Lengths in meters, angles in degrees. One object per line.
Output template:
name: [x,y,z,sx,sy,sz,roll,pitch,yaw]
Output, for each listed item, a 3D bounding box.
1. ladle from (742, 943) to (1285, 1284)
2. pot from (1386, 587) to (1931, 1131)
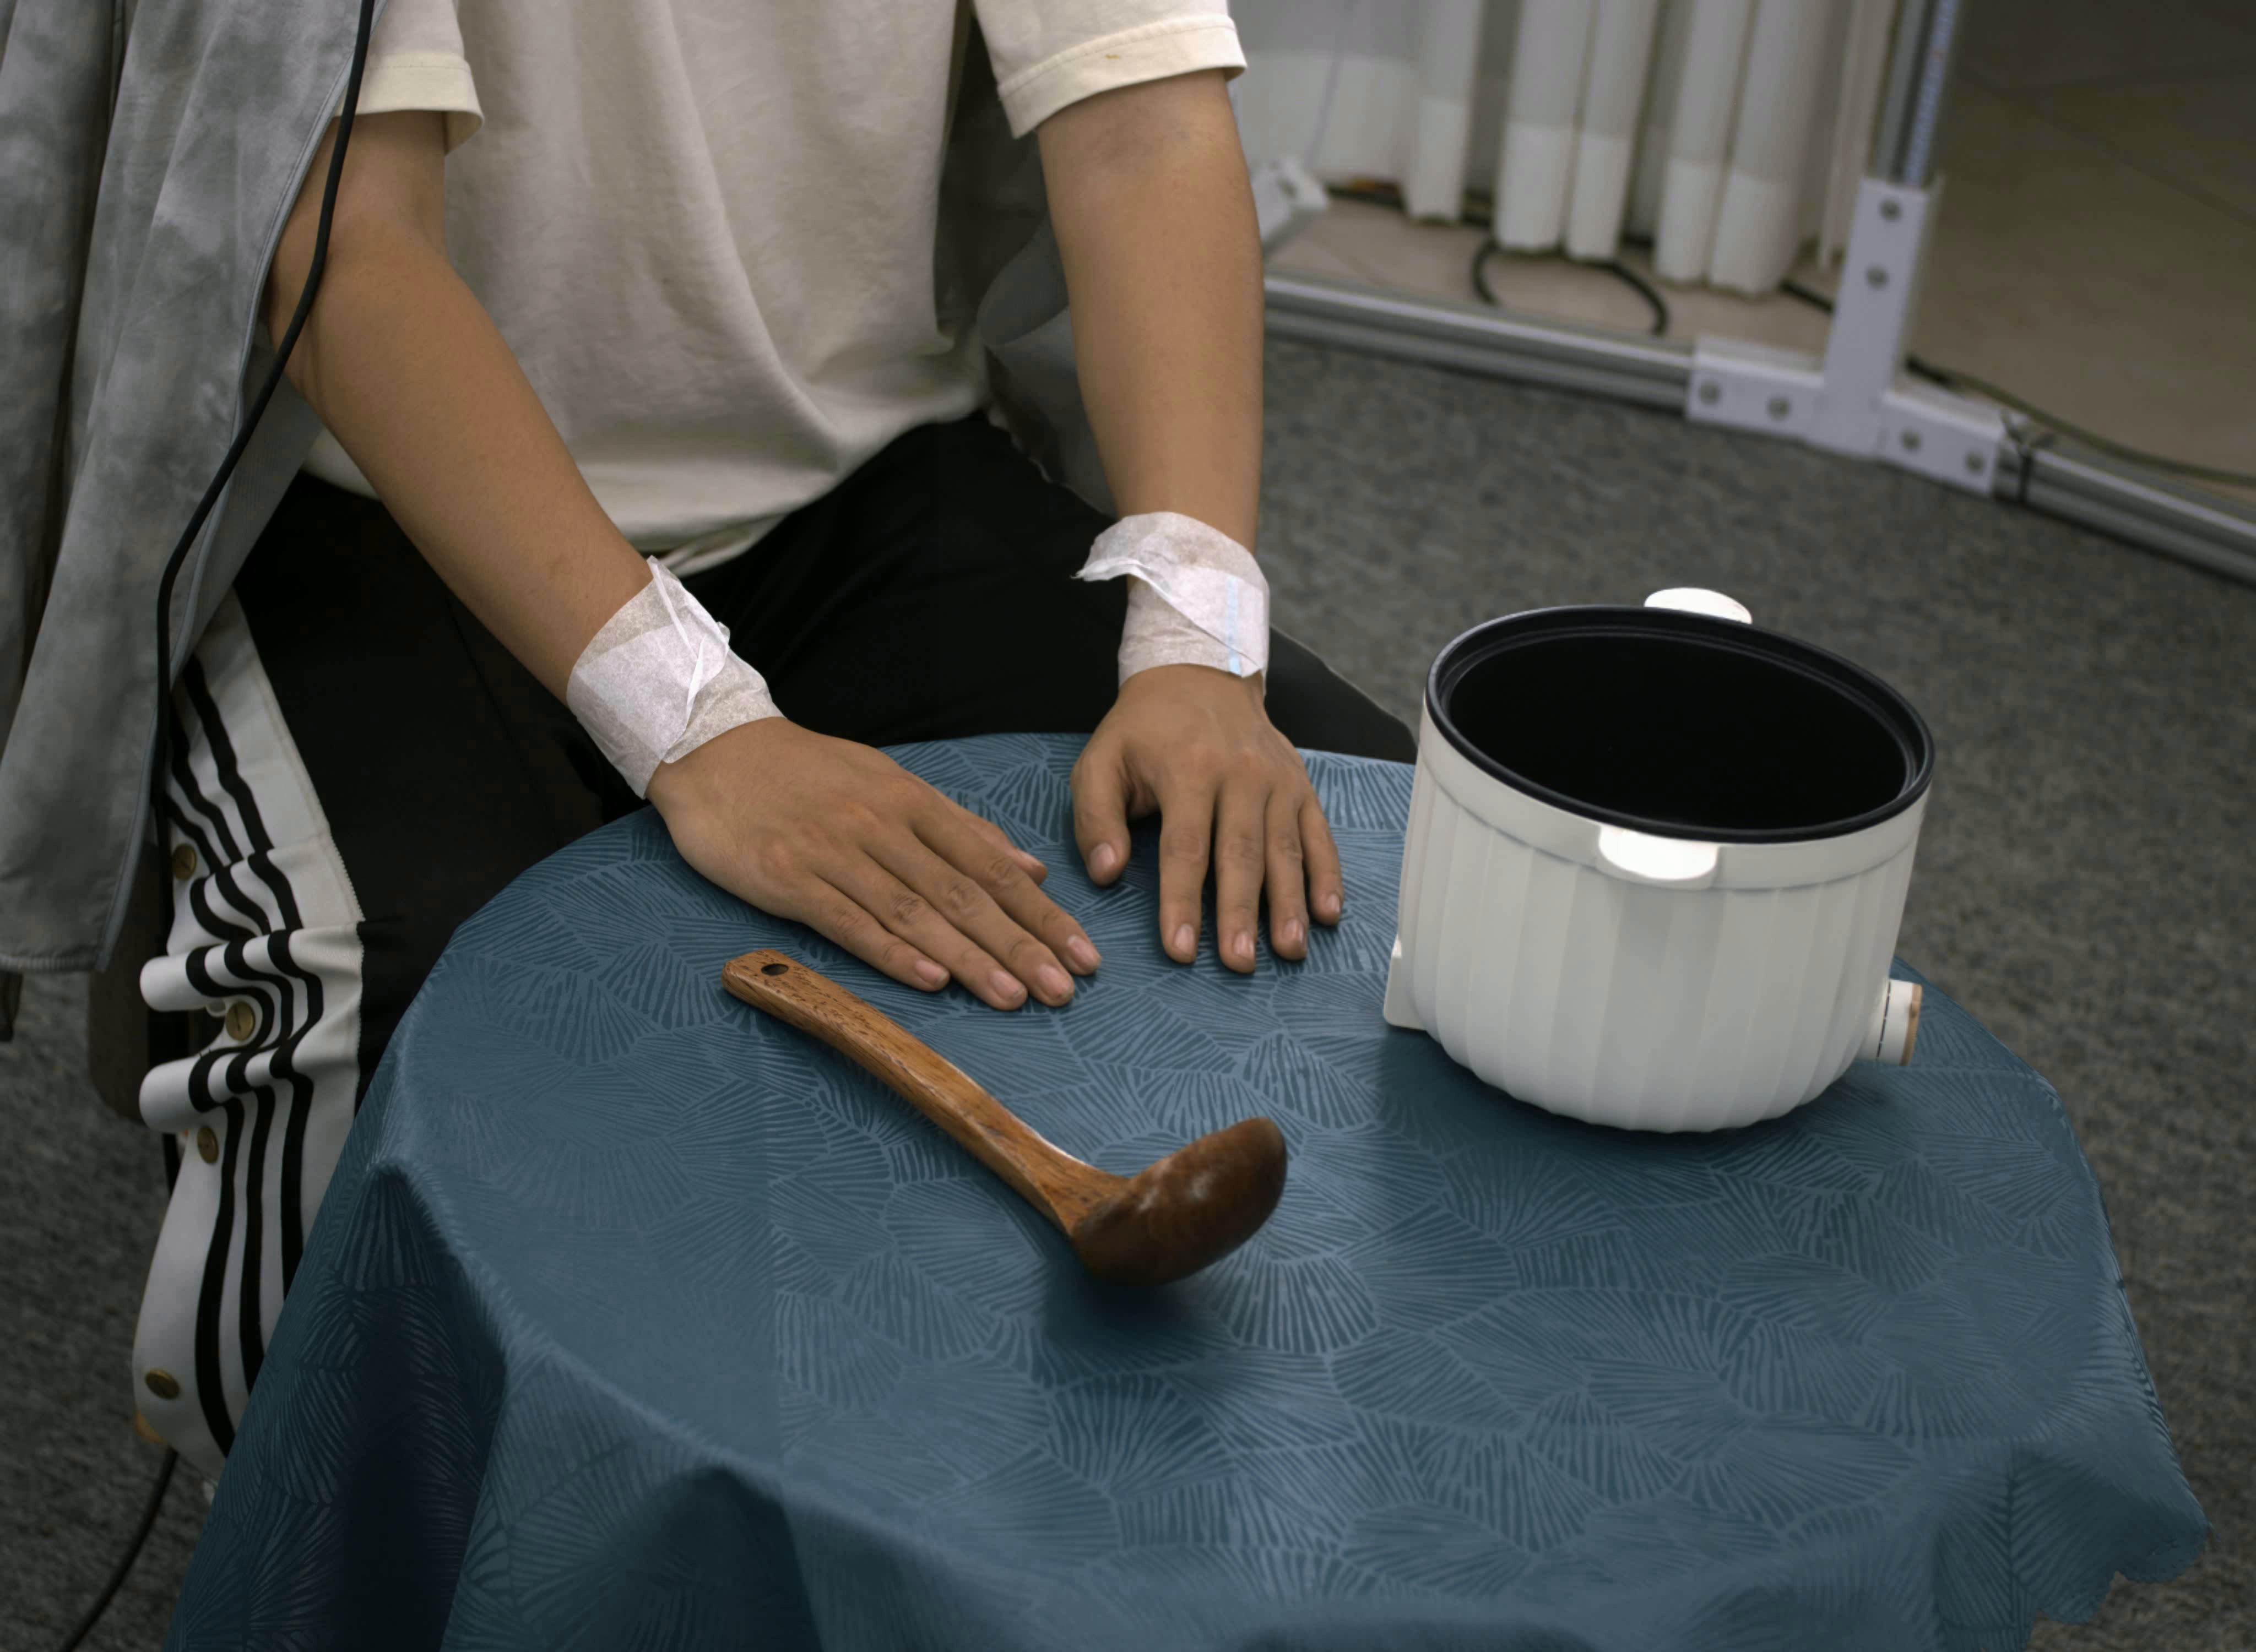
ladle: [-0.050,0.077,1.799,0.081,0.076,0.276,-16,34,-34]
pot: [0.192,0.020,1.899,0.190,0.142,0.241,6,27,7]
